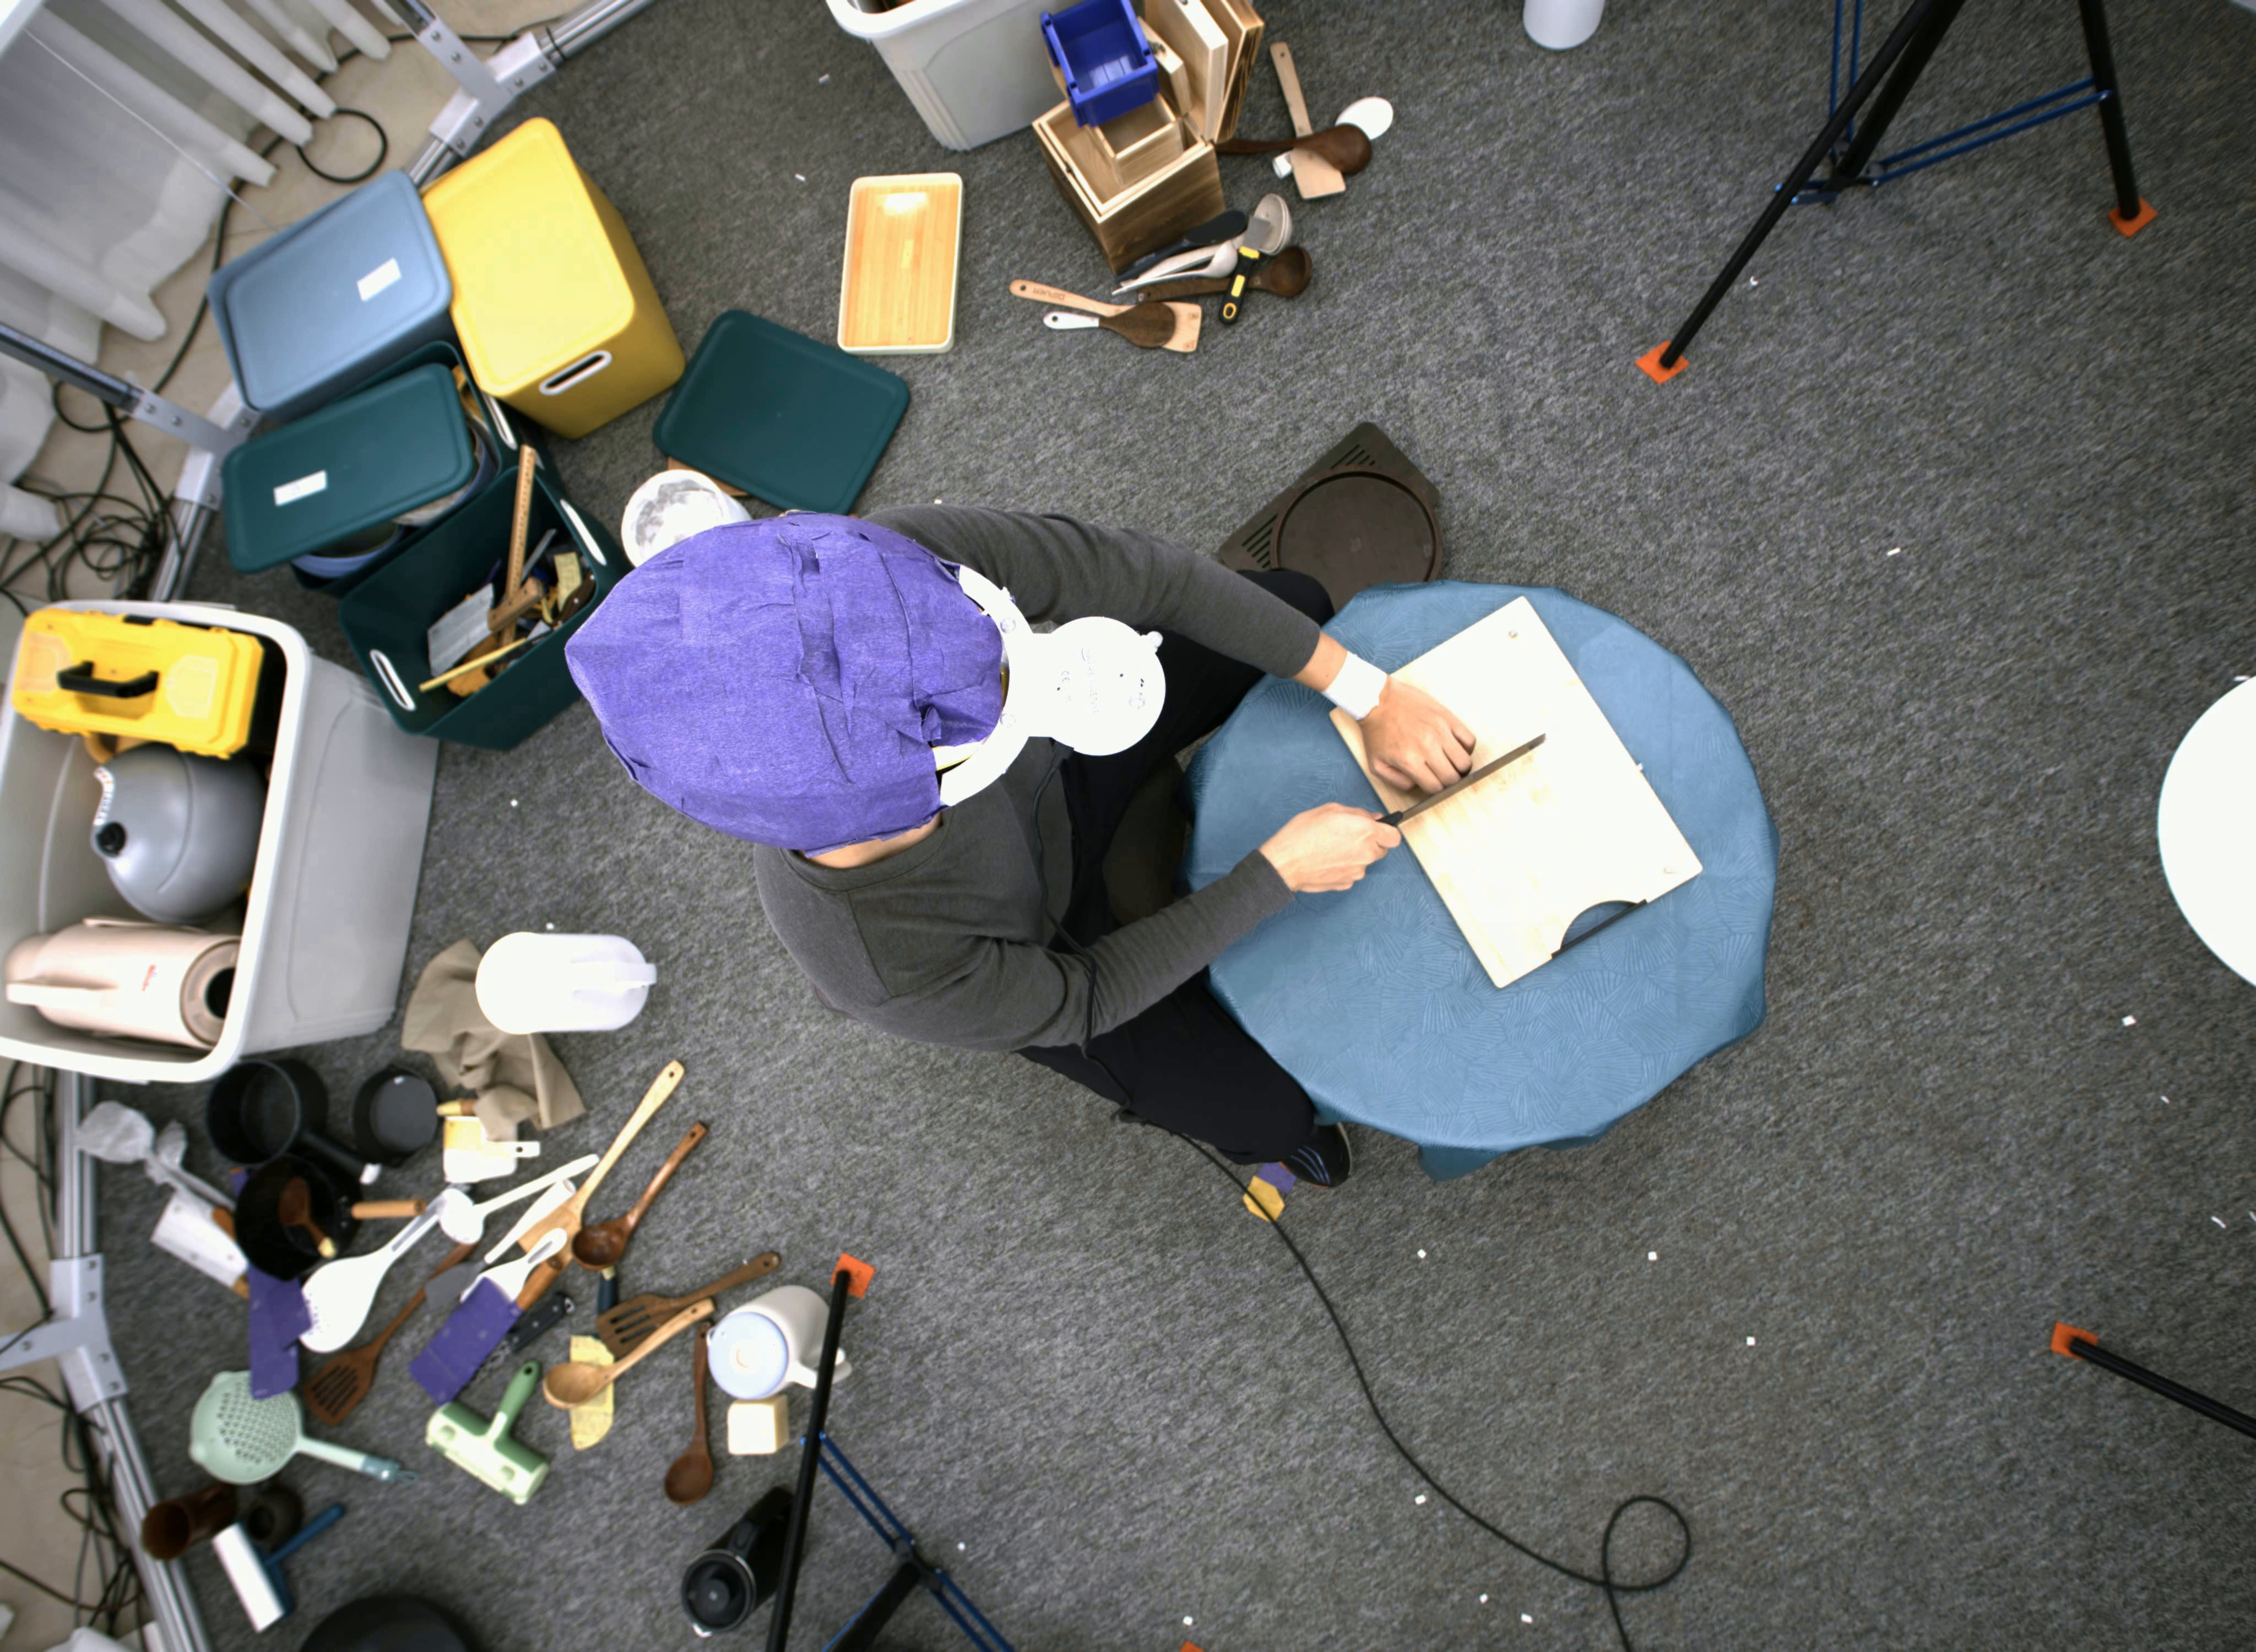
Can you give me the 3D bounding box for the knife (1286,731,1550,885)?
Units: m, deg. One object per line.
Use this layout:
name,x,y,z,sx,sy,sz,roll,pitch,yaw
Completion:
knife,0.296,-0.020,1.401,0.303,0.081,0.020,-29,76,2

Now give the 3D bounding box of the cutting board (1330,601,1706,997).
cutting board,0.402,-0.035,1.433,0.252,0.023,0.346,-32,81,8
